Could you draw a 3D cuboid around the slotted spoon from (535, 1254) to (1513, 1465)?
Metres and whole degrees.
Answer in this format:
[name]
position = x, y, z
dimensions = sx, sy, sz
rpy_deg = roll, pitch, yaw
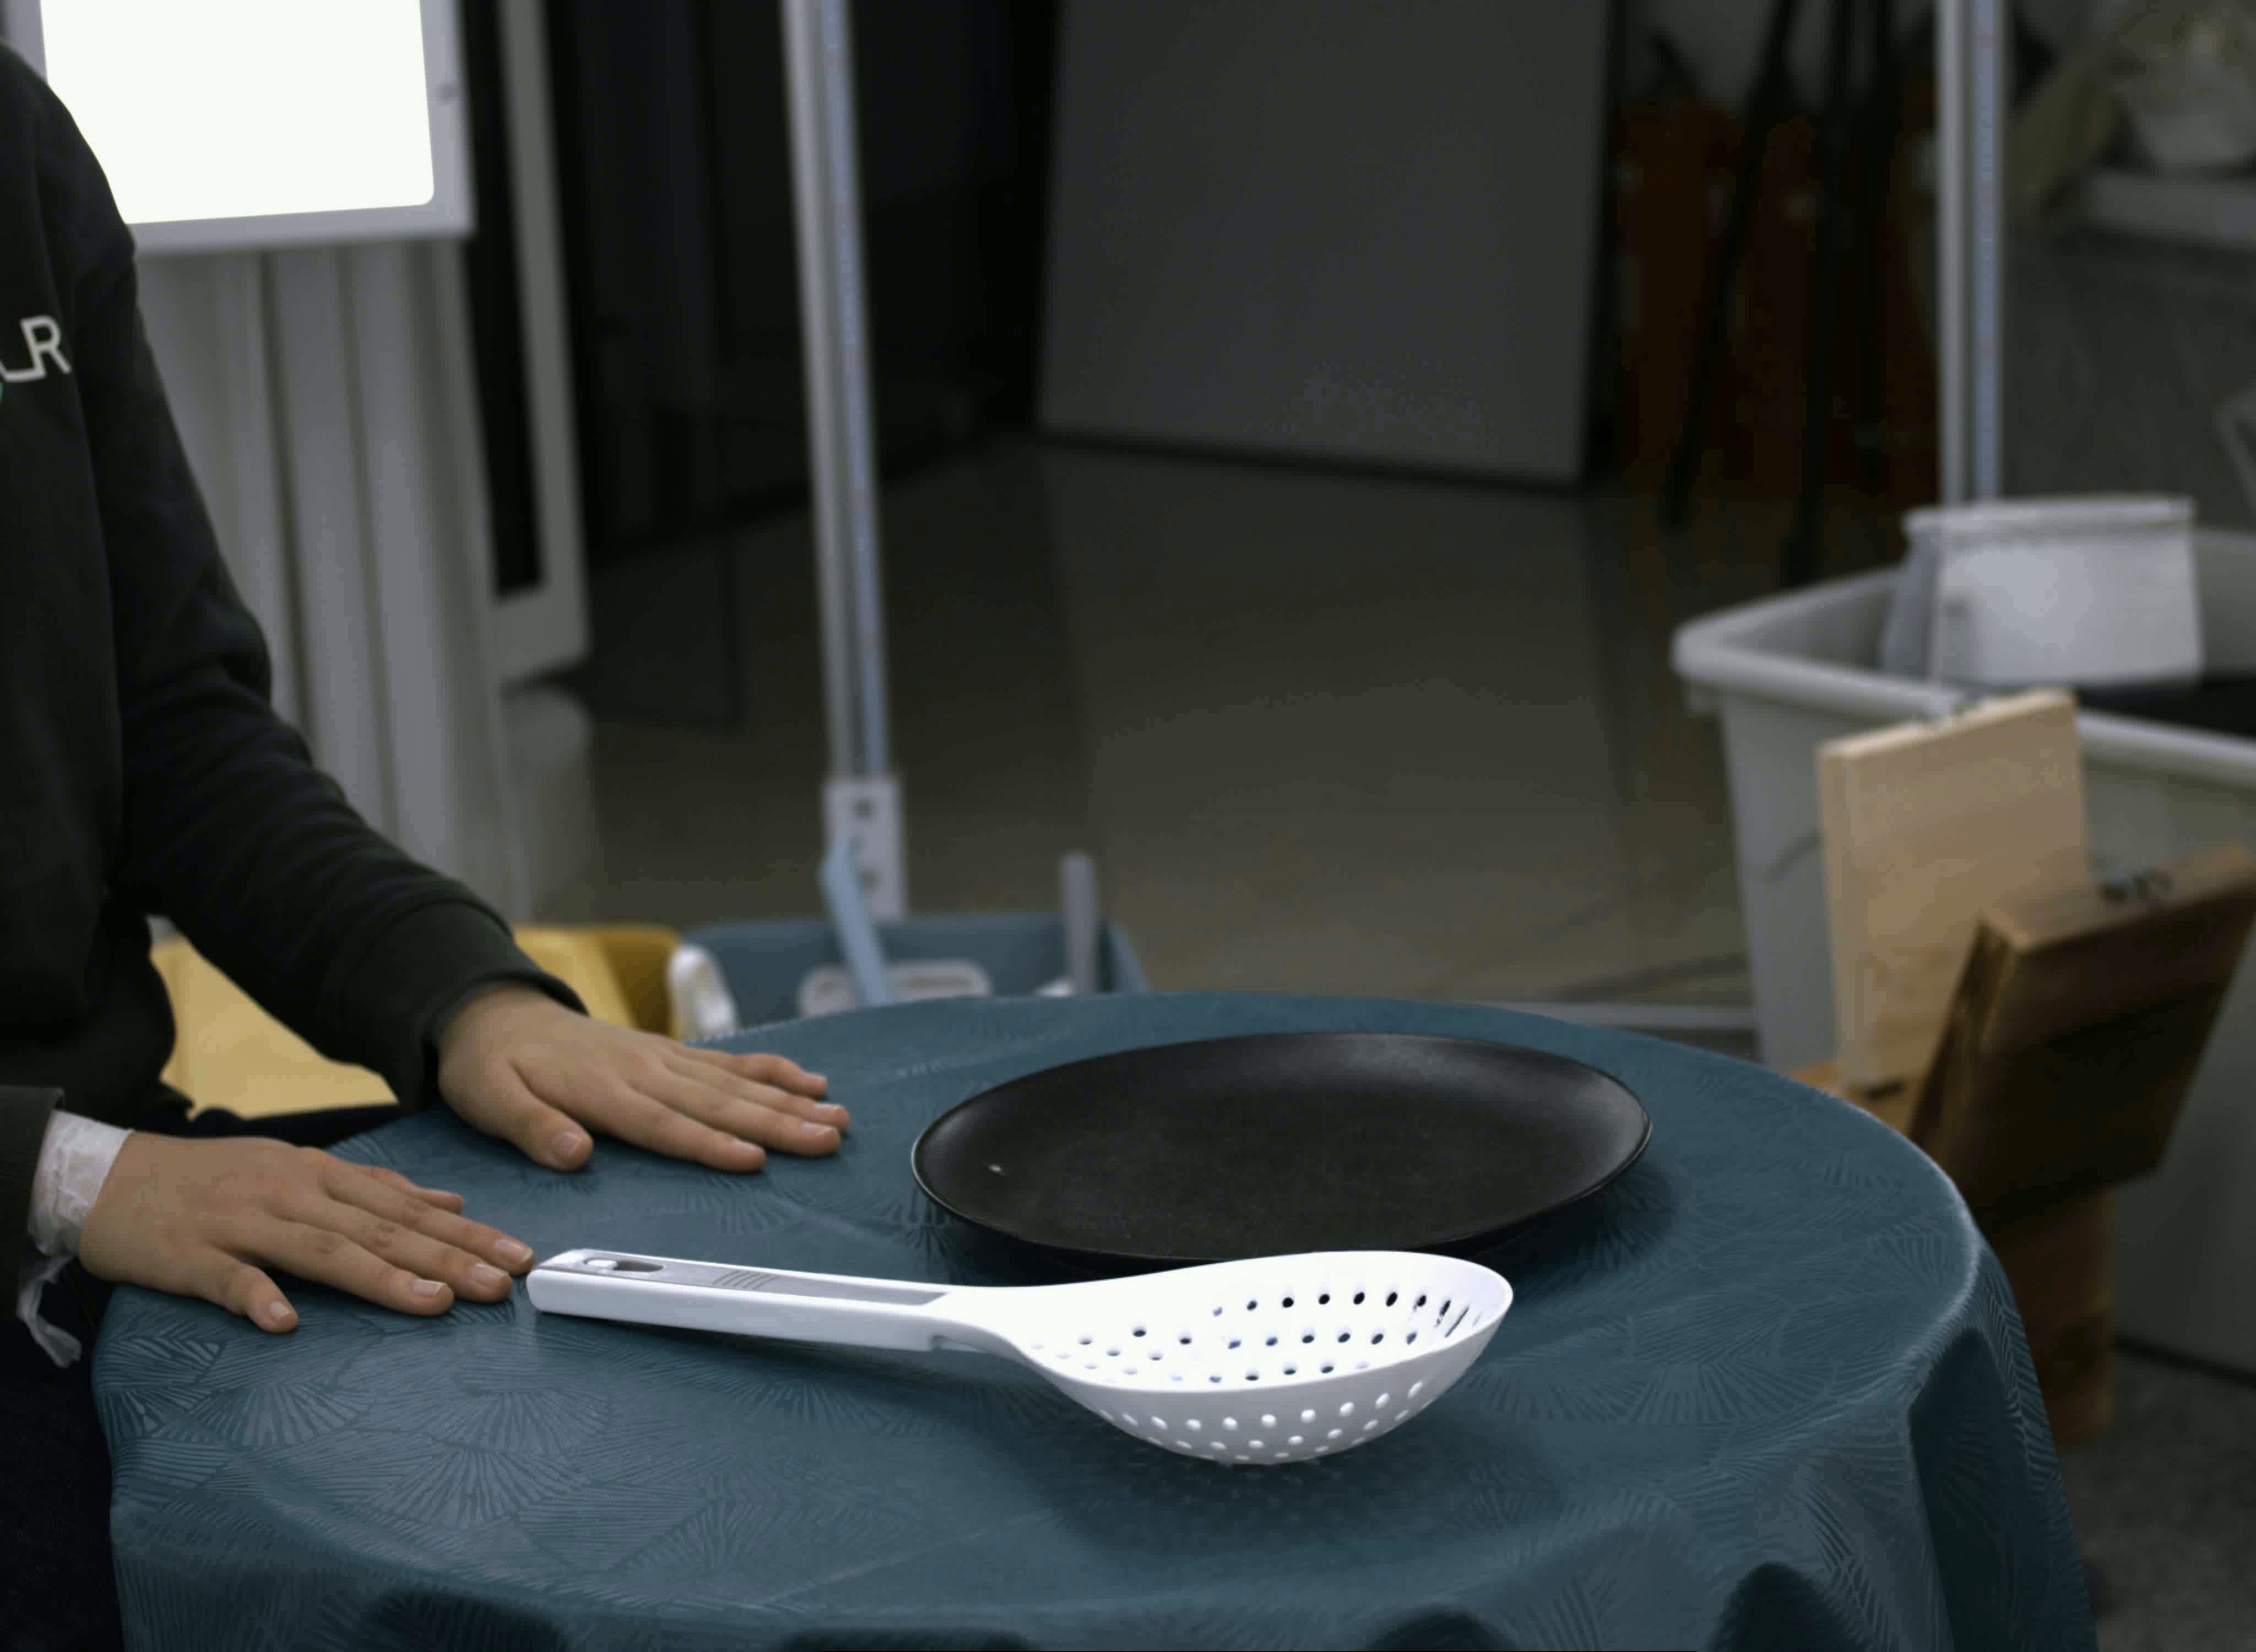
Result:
[slotted spoon]
position = -0.042, 0.146, 1.589
dimensions = 0.352, 0.046, 0.133
rpy_deg = 6, 15, 38

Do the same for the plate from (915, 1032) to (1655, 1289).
[plate]
position = 0.051, 0.111, 1.747
dimensions = 0.241, 0.024, 0.245
rpy_deg = -4, 14, 0
